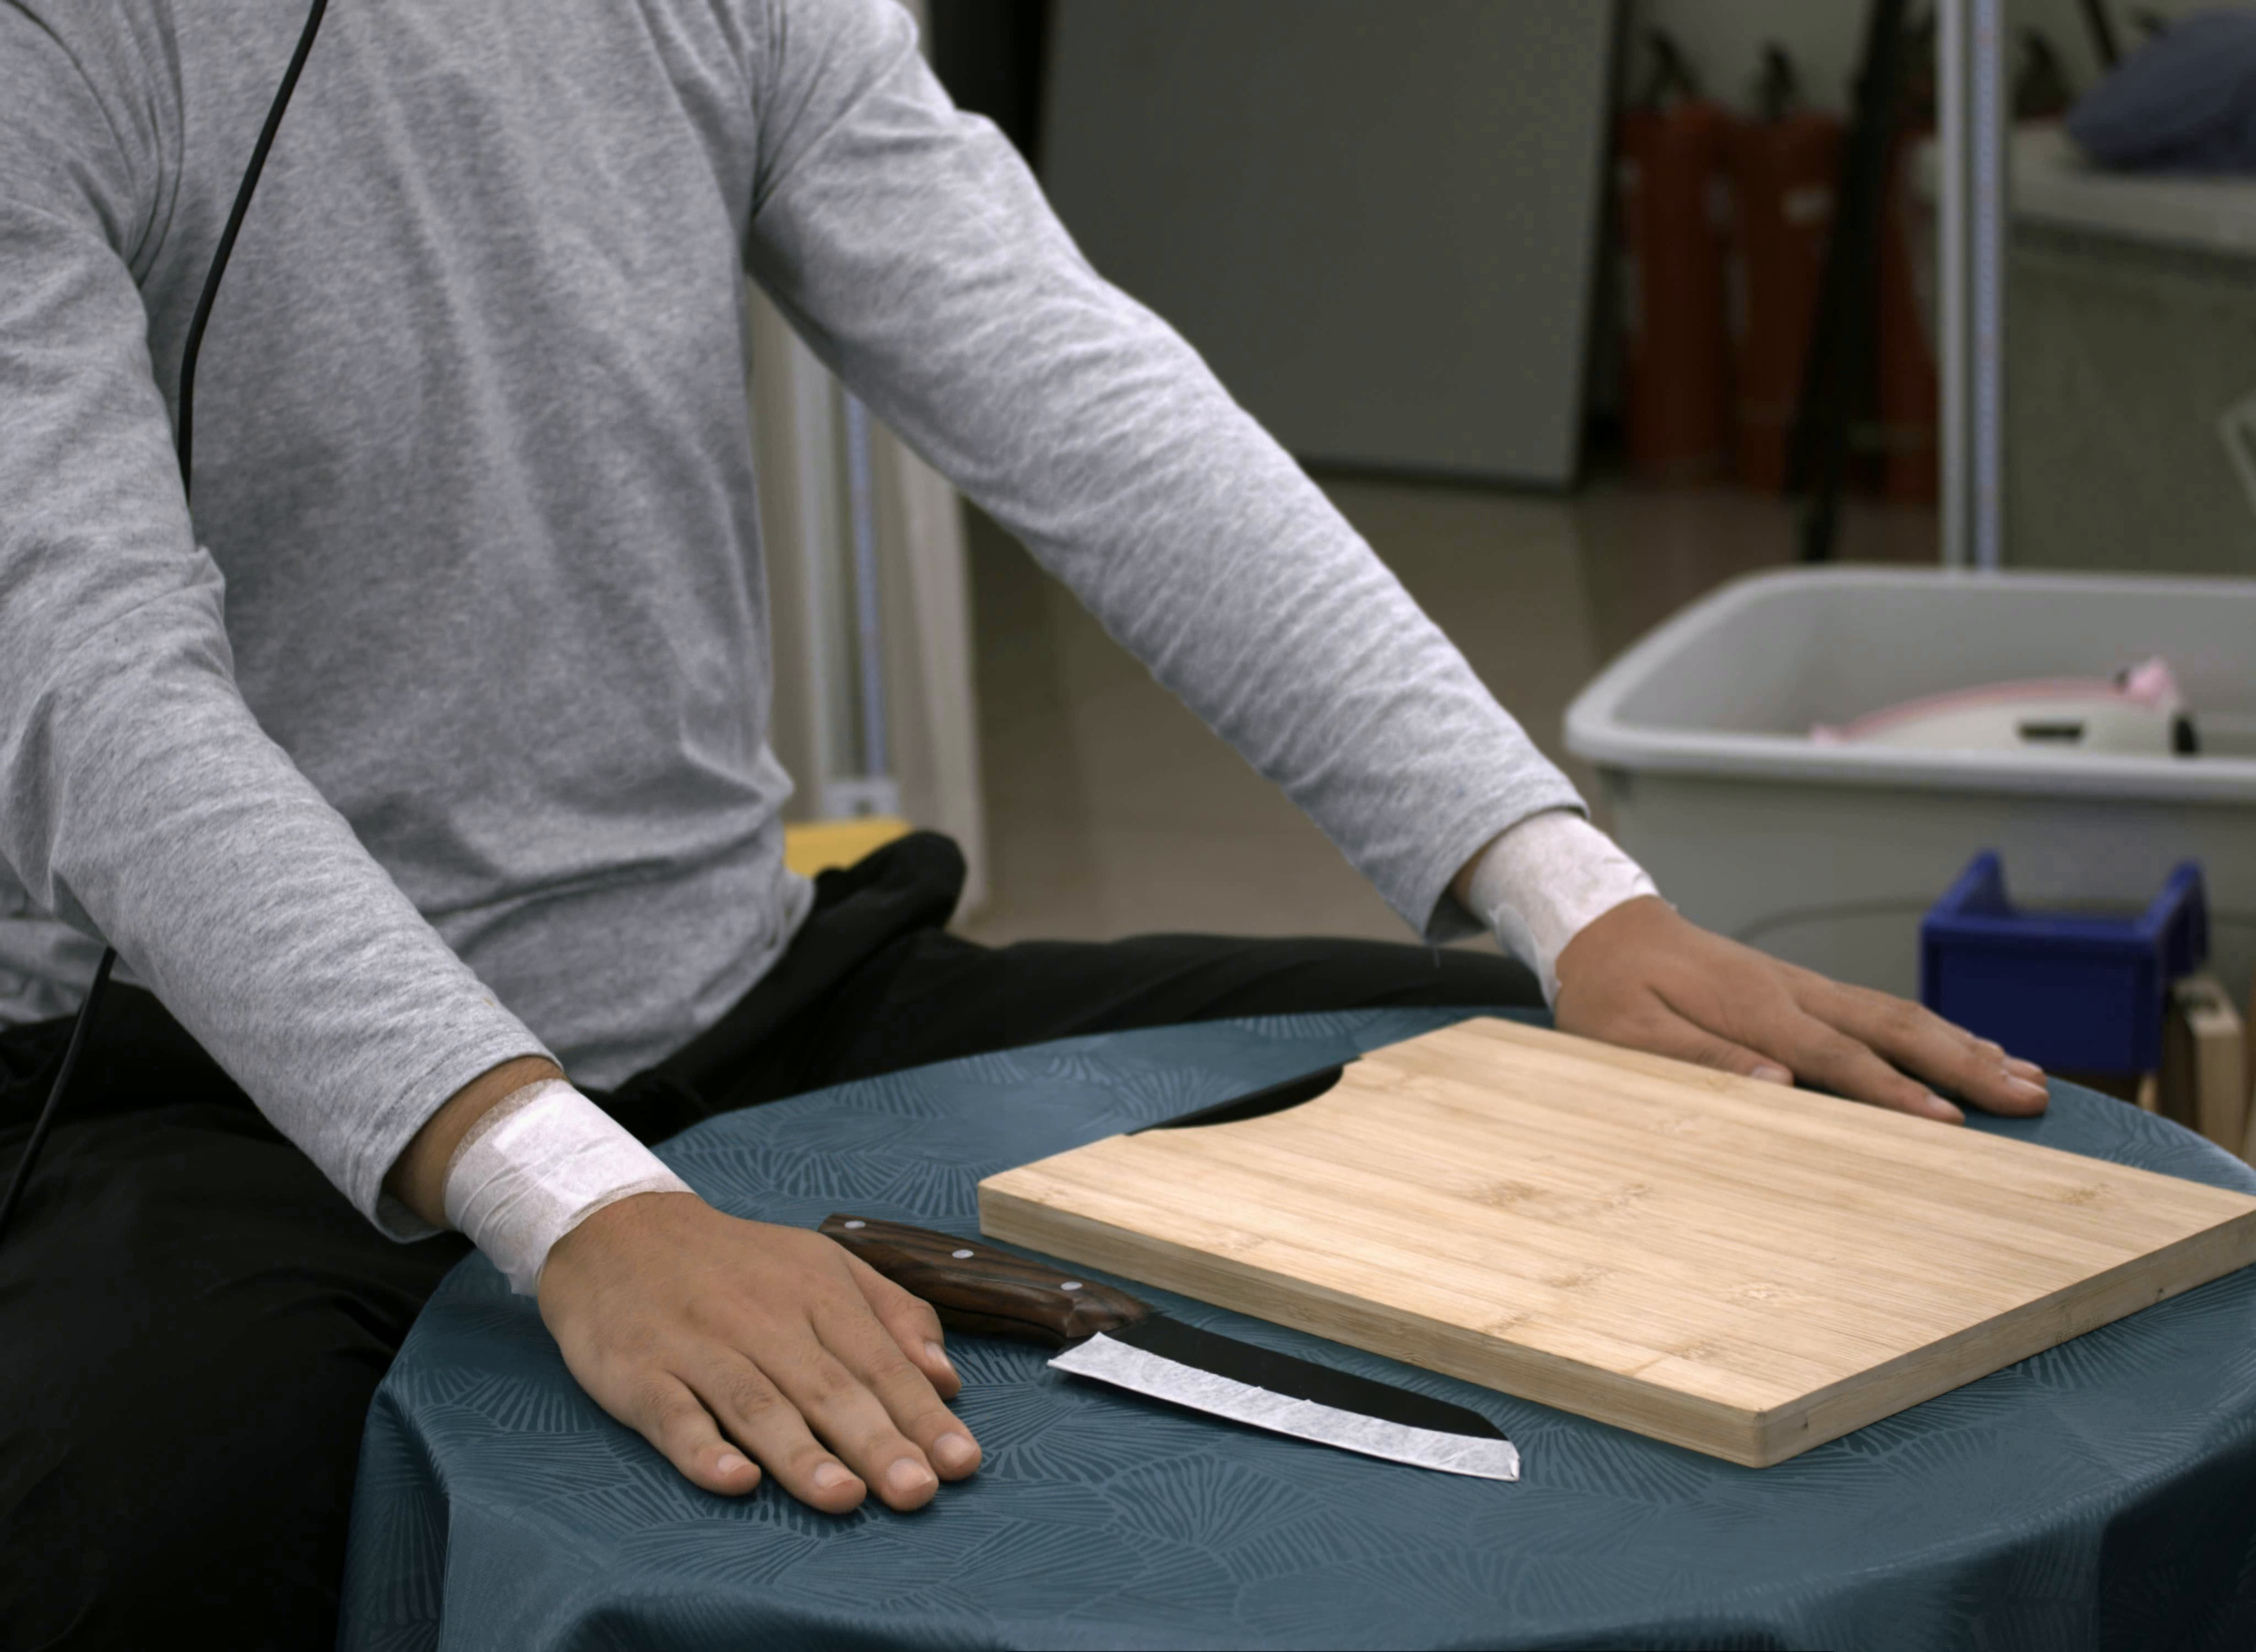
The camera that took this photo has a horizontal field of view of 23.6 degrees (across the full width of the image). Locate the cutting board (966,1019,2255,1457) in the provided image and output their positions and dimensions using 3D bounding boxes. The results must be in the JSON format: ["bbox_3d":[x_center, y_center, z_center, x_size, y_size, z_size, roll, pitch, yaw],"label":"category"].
[{"bbox_3d":[0.147,0.123,1.691,0.245,0.024,0.352,-15,17,-39],"label":"cutting board"}]

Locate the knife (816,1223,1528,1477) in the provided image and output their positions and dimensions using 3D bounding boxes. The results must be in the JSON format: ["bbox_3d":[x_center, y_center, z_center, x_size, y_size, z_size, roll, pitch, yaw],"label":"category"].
[{"bbox_3d":[0.008,0.156,1.596,0.292,0.020,0.049,12,26,44],"label":"knife"}]
